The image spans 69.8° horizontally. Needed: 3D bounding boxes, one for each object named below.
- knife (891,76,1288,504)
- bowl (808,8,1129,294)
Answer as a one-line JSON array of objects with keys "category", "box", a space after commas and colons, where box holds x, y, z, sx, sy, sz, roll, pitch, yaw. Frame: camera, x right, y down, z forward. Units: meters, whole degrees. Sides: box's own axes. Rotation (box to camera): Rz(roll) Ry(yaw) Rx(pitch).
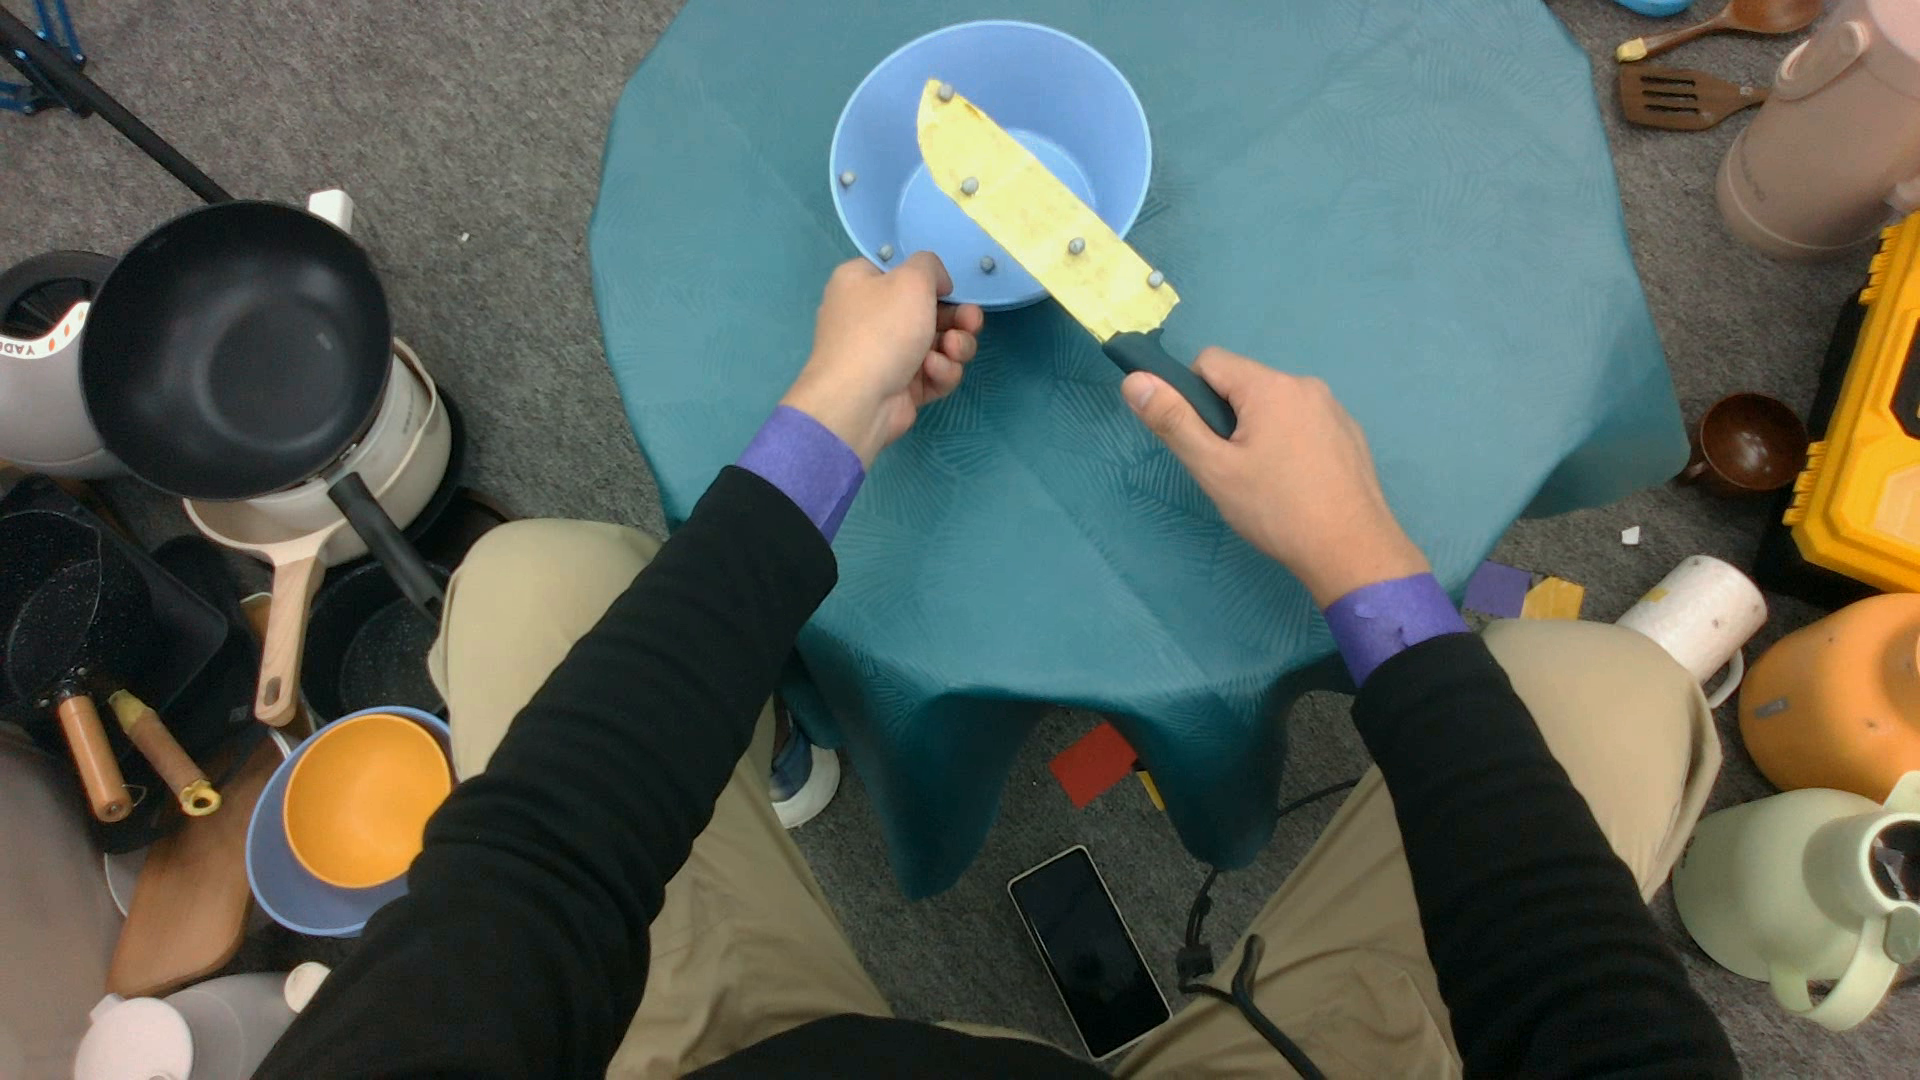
[{"category": "knife", "box": [0.068, -0.131, 0.706, 0.289, 0.027, 0.081, 46, 52, -2]}, {"category": "bowl", "box": [0.006, -0.207, 0.780, 0.176, 0.070, 0.176, -1, 72, 3]}]
